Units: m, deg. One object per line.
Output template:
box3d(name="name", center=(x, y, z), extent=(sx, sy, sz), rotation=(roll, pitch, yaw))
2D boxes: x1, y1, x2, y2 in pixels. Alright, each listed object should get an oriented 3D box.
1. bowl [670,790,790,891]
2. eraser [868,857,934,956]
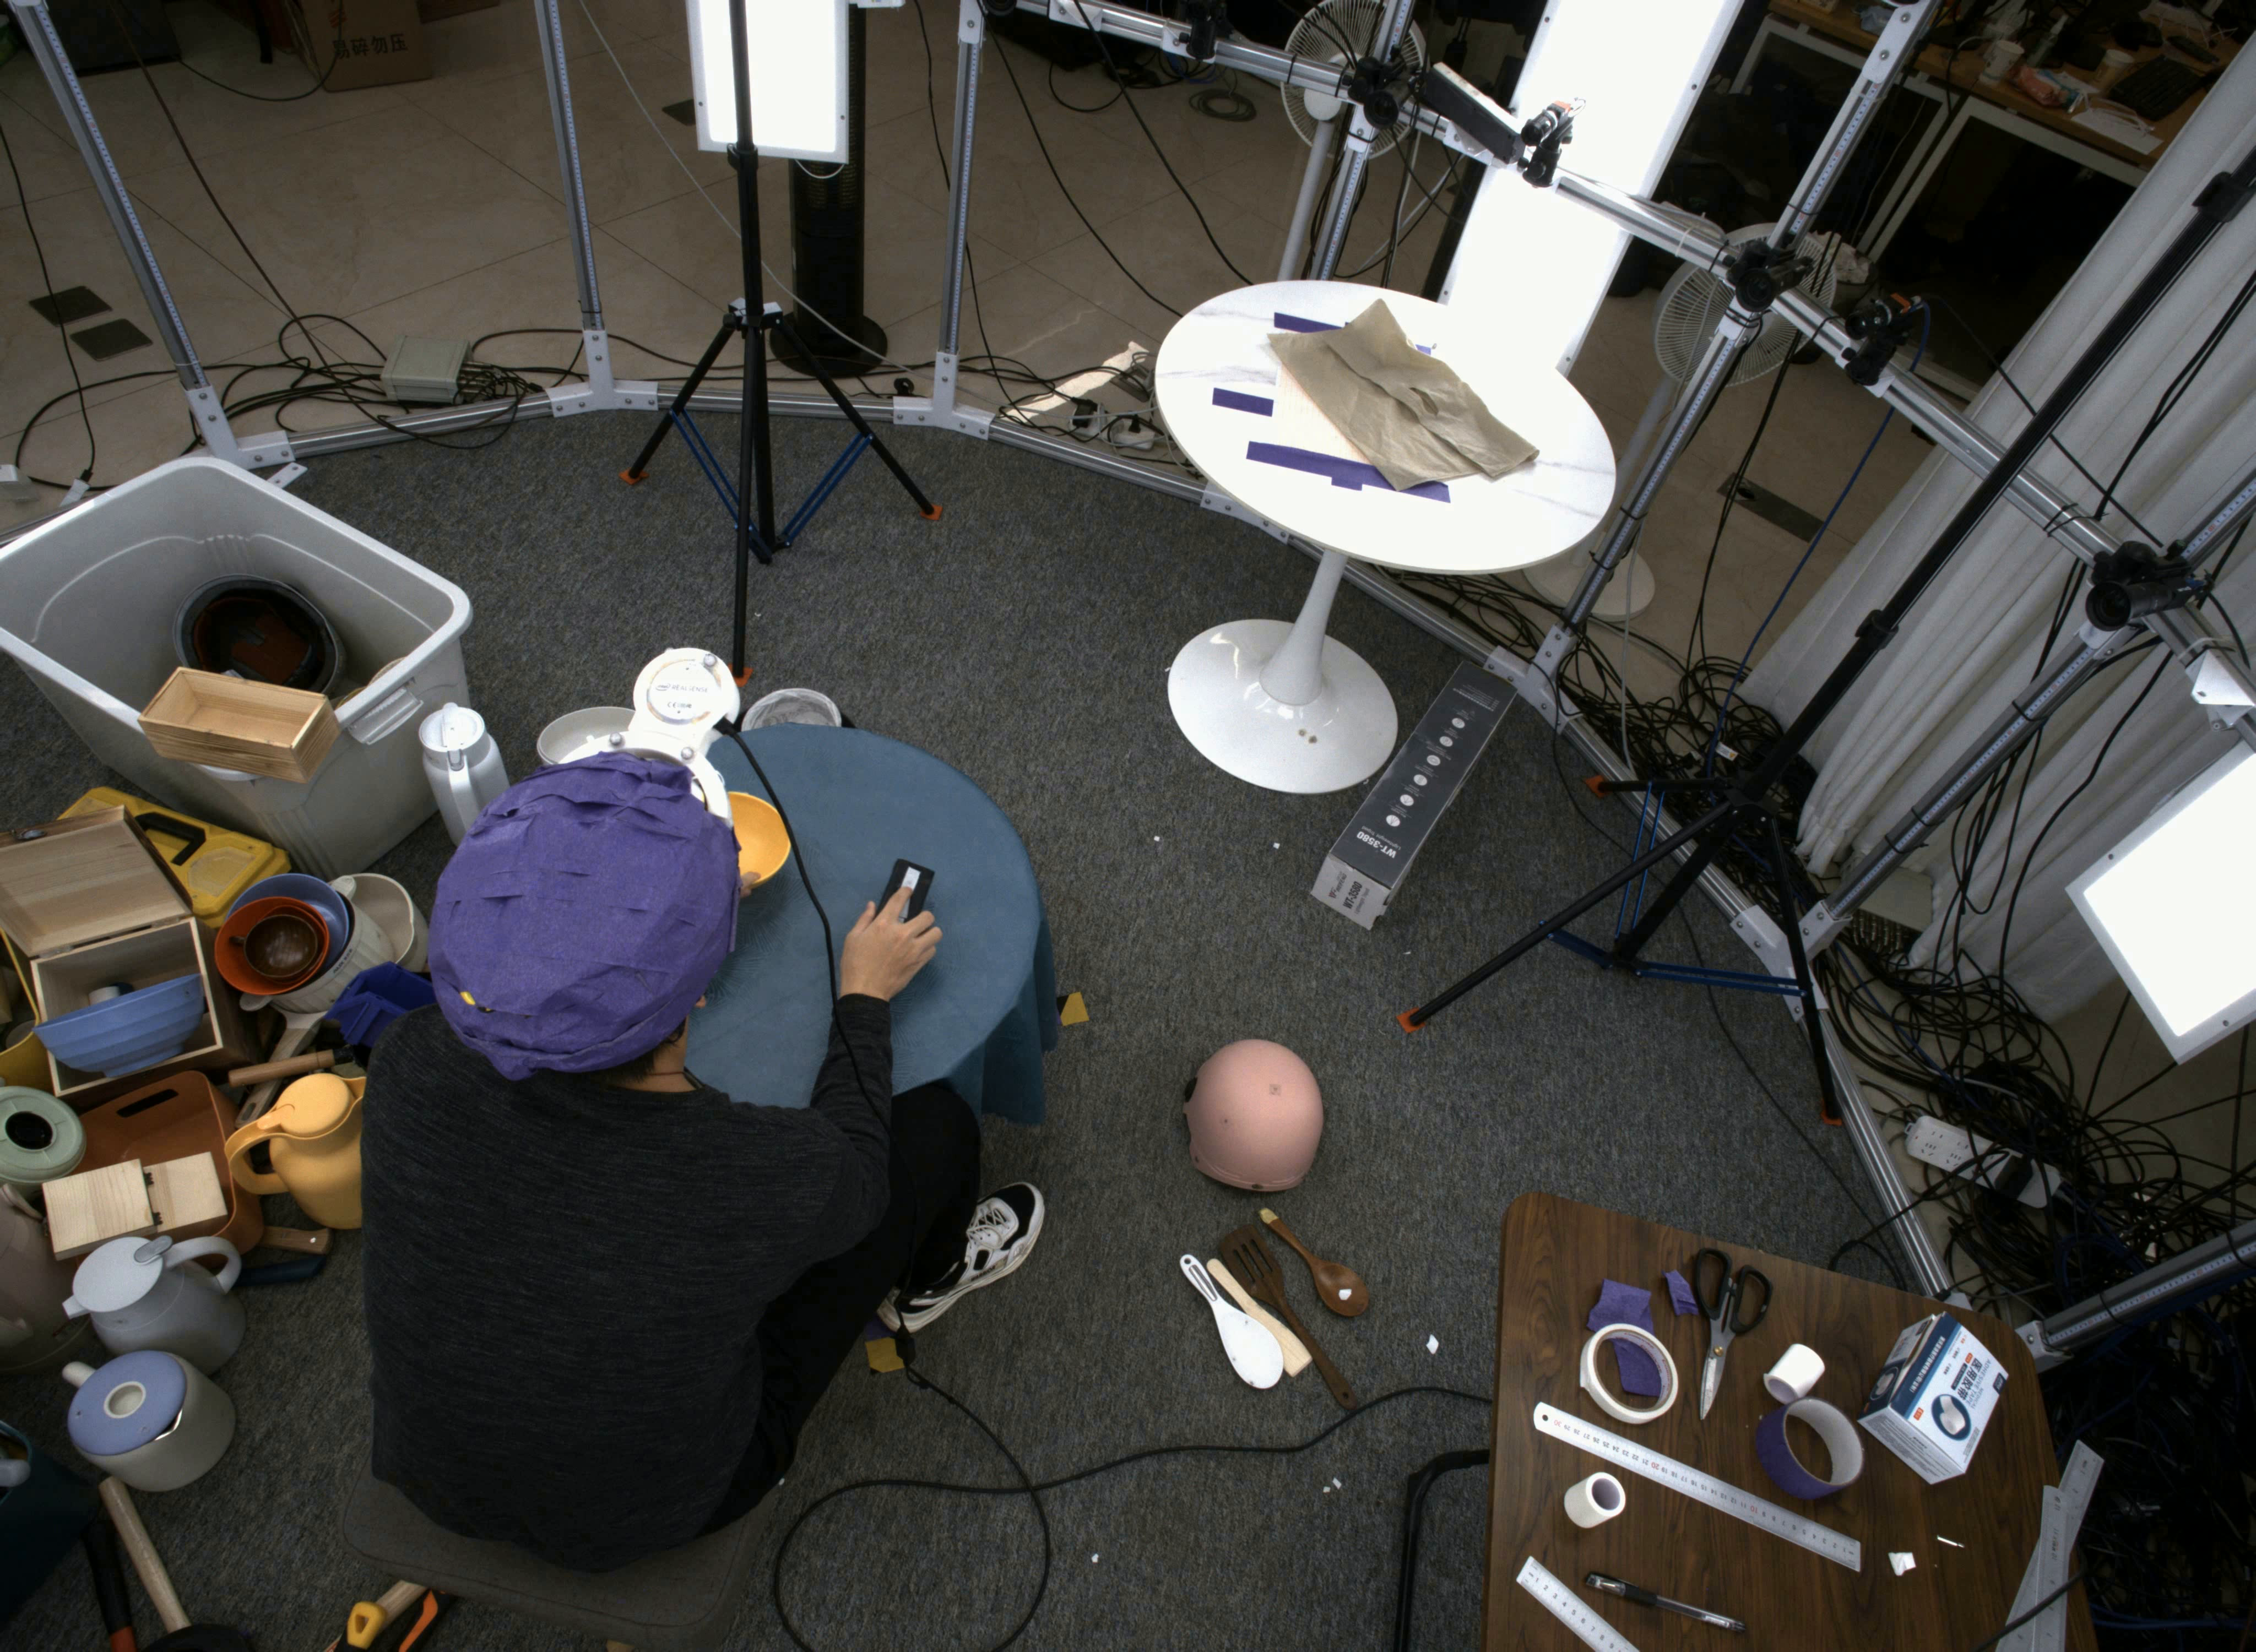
box3d(name="bowl", center=(-0.497, 0.028, 1.613), extent=(0.146, 0.061, 0.142), rotation=(11, 50, -12))
box3d(name="eraser", center=(-0.283, 0.097, 1.621), extent=(0.053, 0.031, 0.124), rotation=(18, 53, -9))
